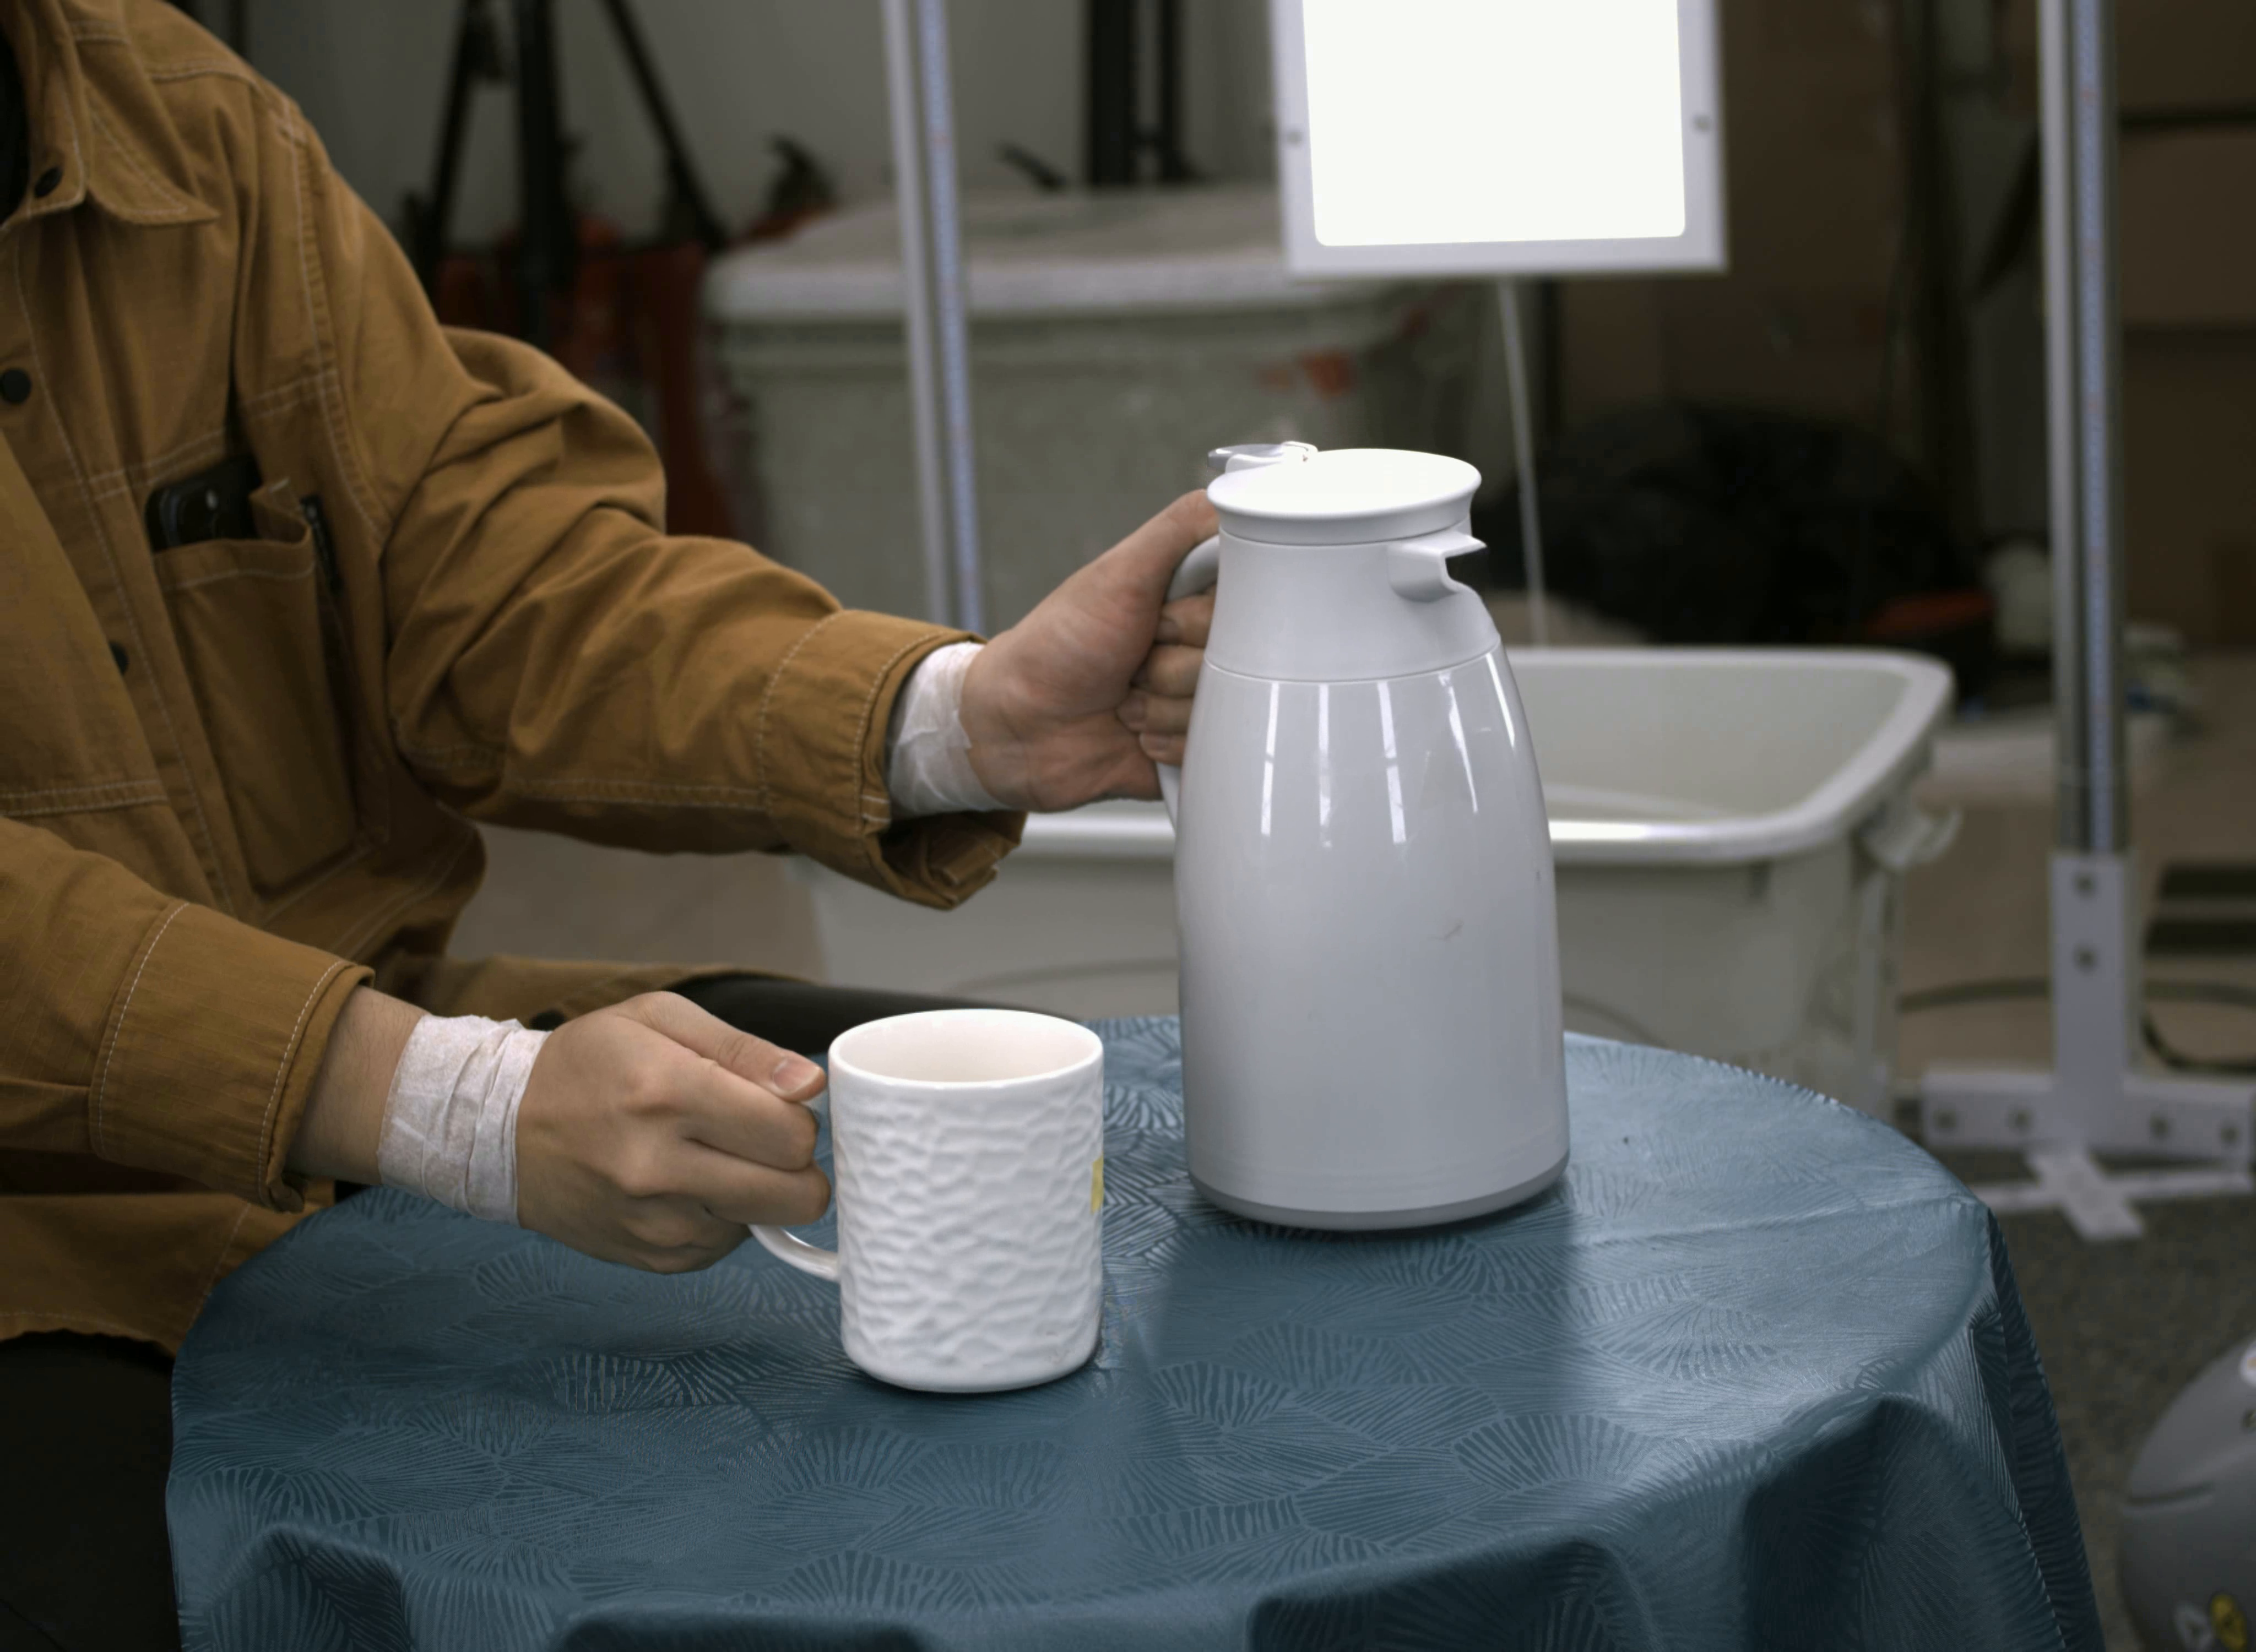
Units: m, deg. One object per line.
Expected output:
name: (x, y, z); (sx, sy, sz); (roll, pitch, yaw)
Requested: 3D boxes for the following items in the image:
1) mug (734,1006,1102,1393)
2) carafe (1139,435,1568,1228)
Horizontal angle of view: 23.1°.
mug: (-0.066, 0.116, 1.734); (0.119, 0.102, 0.084); (2, 15, 13)
carafe: (0.064, -0.007, 1.860); (0.129, 0.249, 0.171); (-16, 19, -34)
